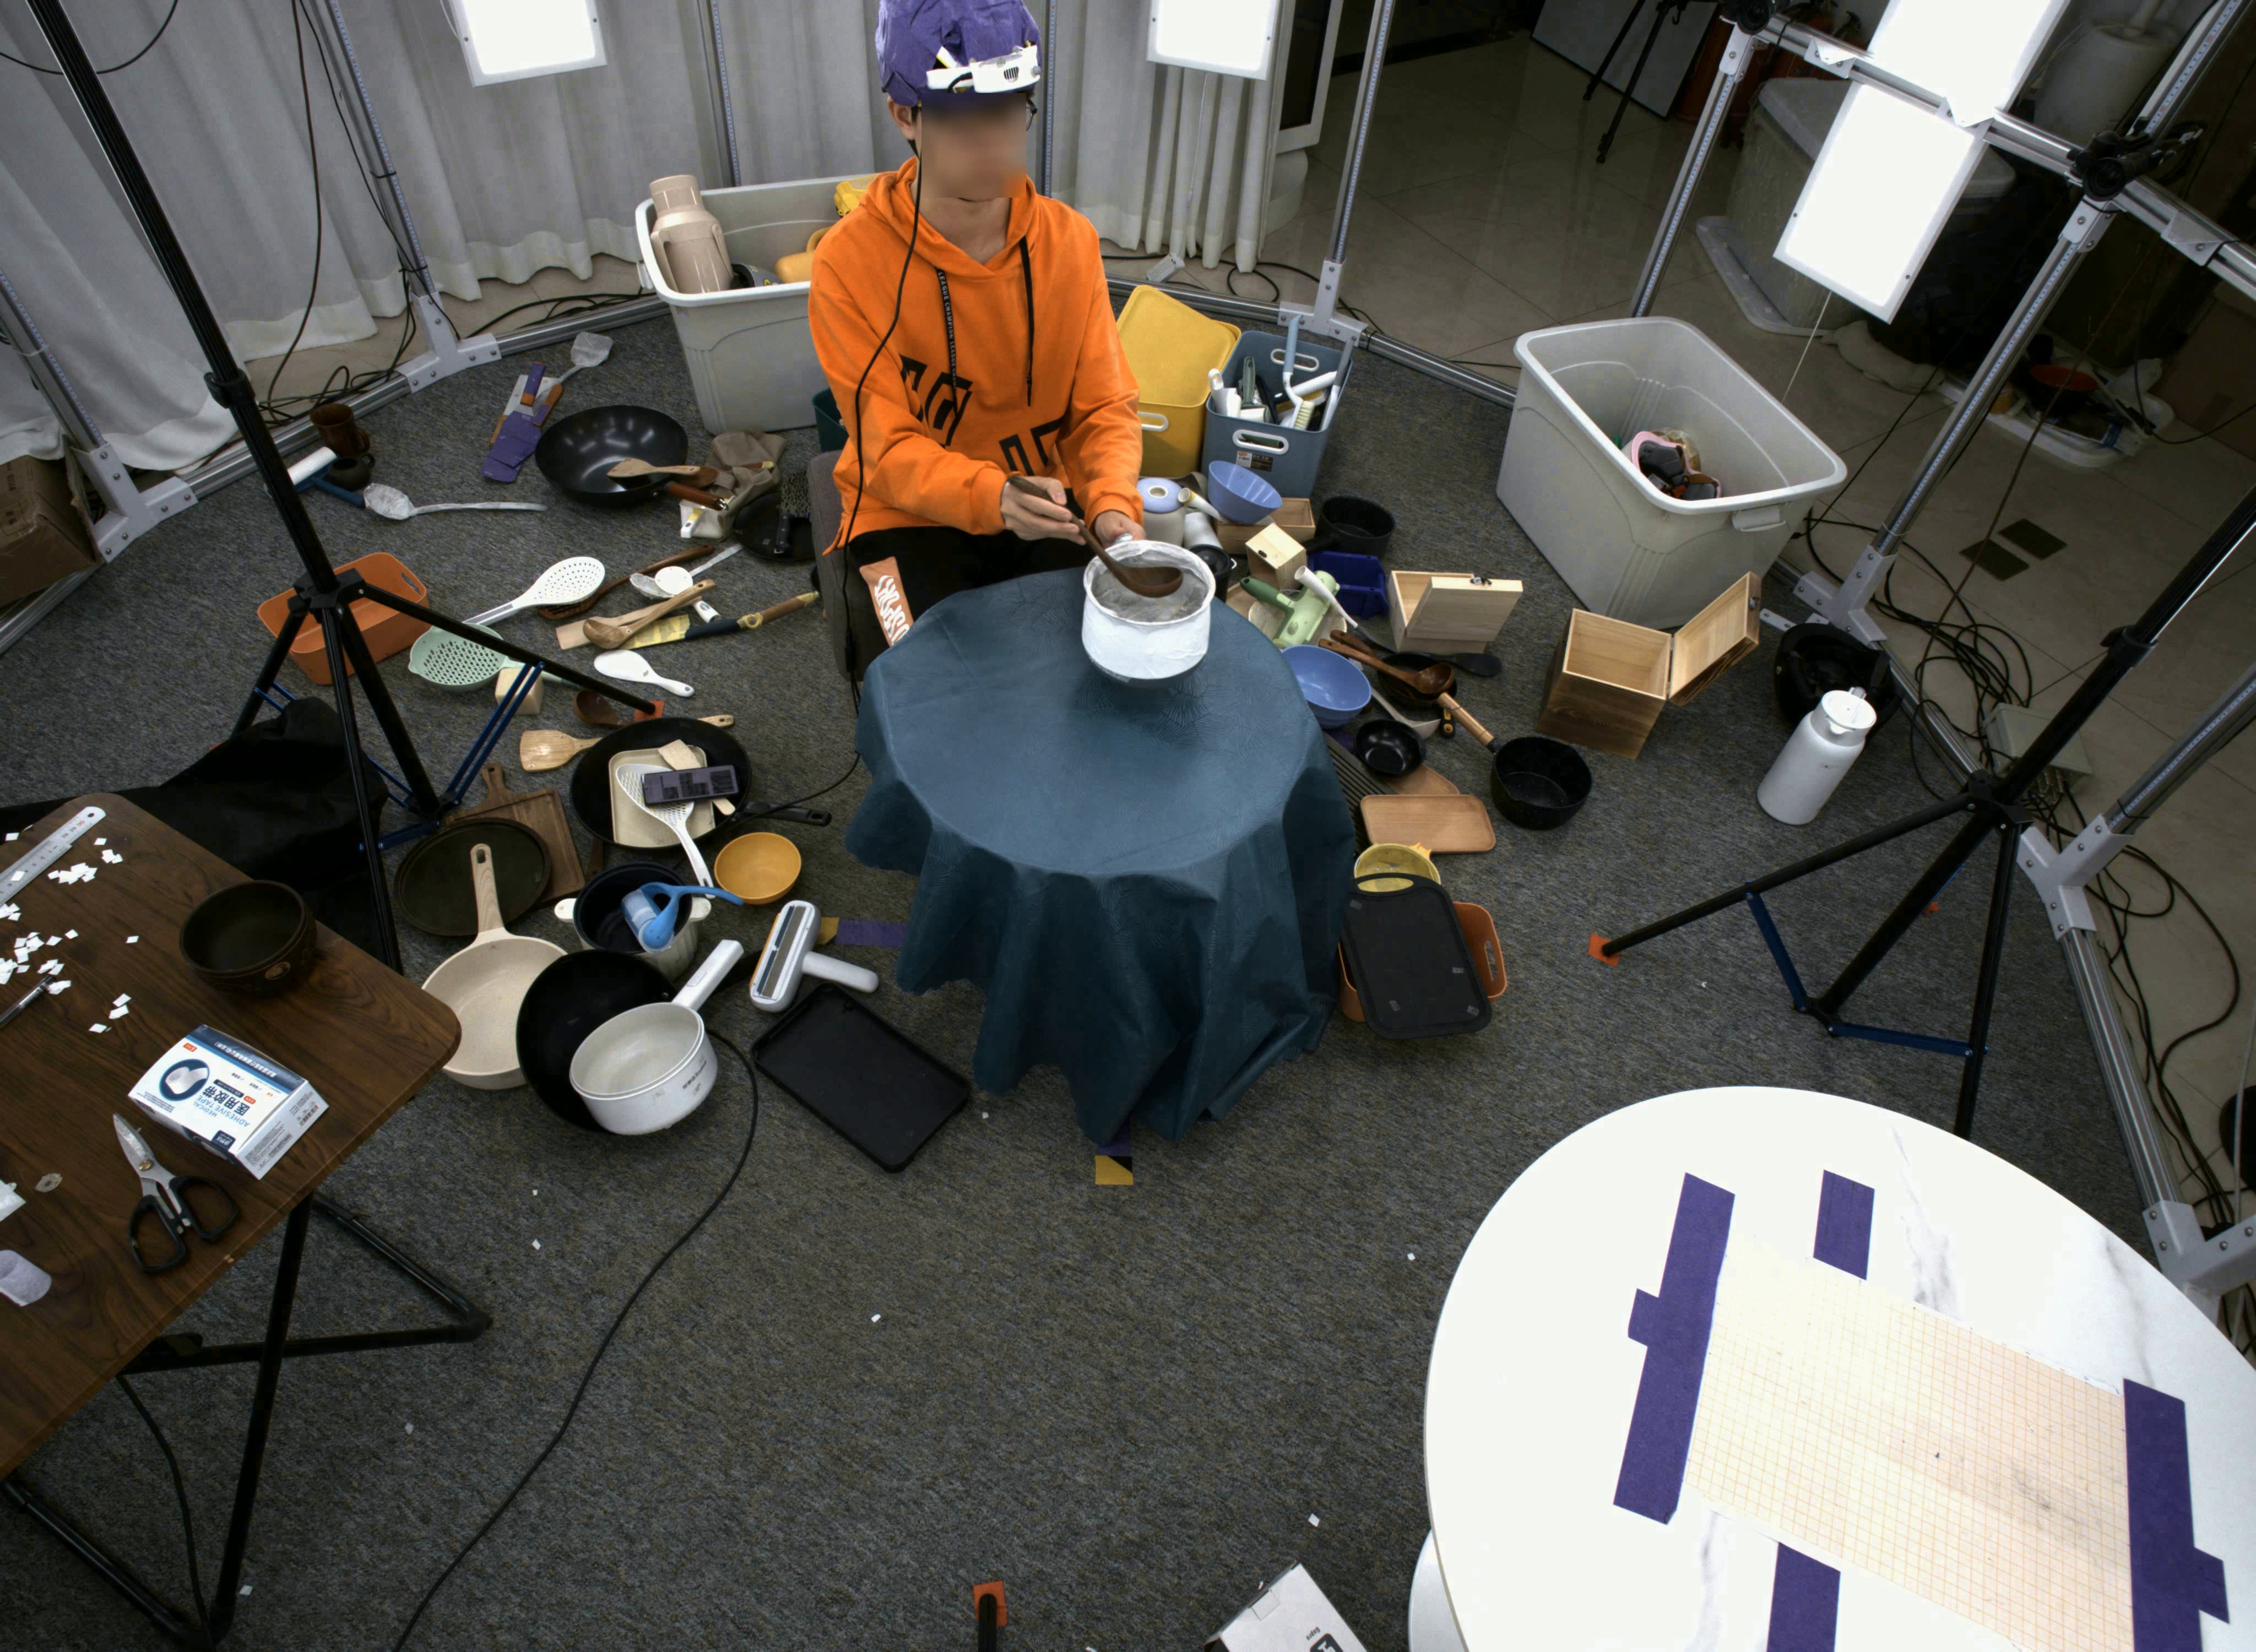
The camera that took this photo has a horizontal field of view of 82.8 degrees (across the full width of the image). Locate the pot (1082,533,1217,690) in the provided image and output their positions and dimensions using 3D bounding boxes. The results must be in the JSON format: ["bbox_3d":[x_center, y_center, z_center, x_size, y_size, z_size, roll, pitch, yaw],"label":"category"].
[{"bbox_3d":[0.017,-0.305,1.779,0.179,0.133,0.239,-13,50,-15],"label":"pot"}]

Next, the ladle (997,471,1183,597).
[{"bbox_3d":[-0.045,-0.395,1.695,0.271,0.071,0.077,39,20,-17],"label":"ladle"}]
